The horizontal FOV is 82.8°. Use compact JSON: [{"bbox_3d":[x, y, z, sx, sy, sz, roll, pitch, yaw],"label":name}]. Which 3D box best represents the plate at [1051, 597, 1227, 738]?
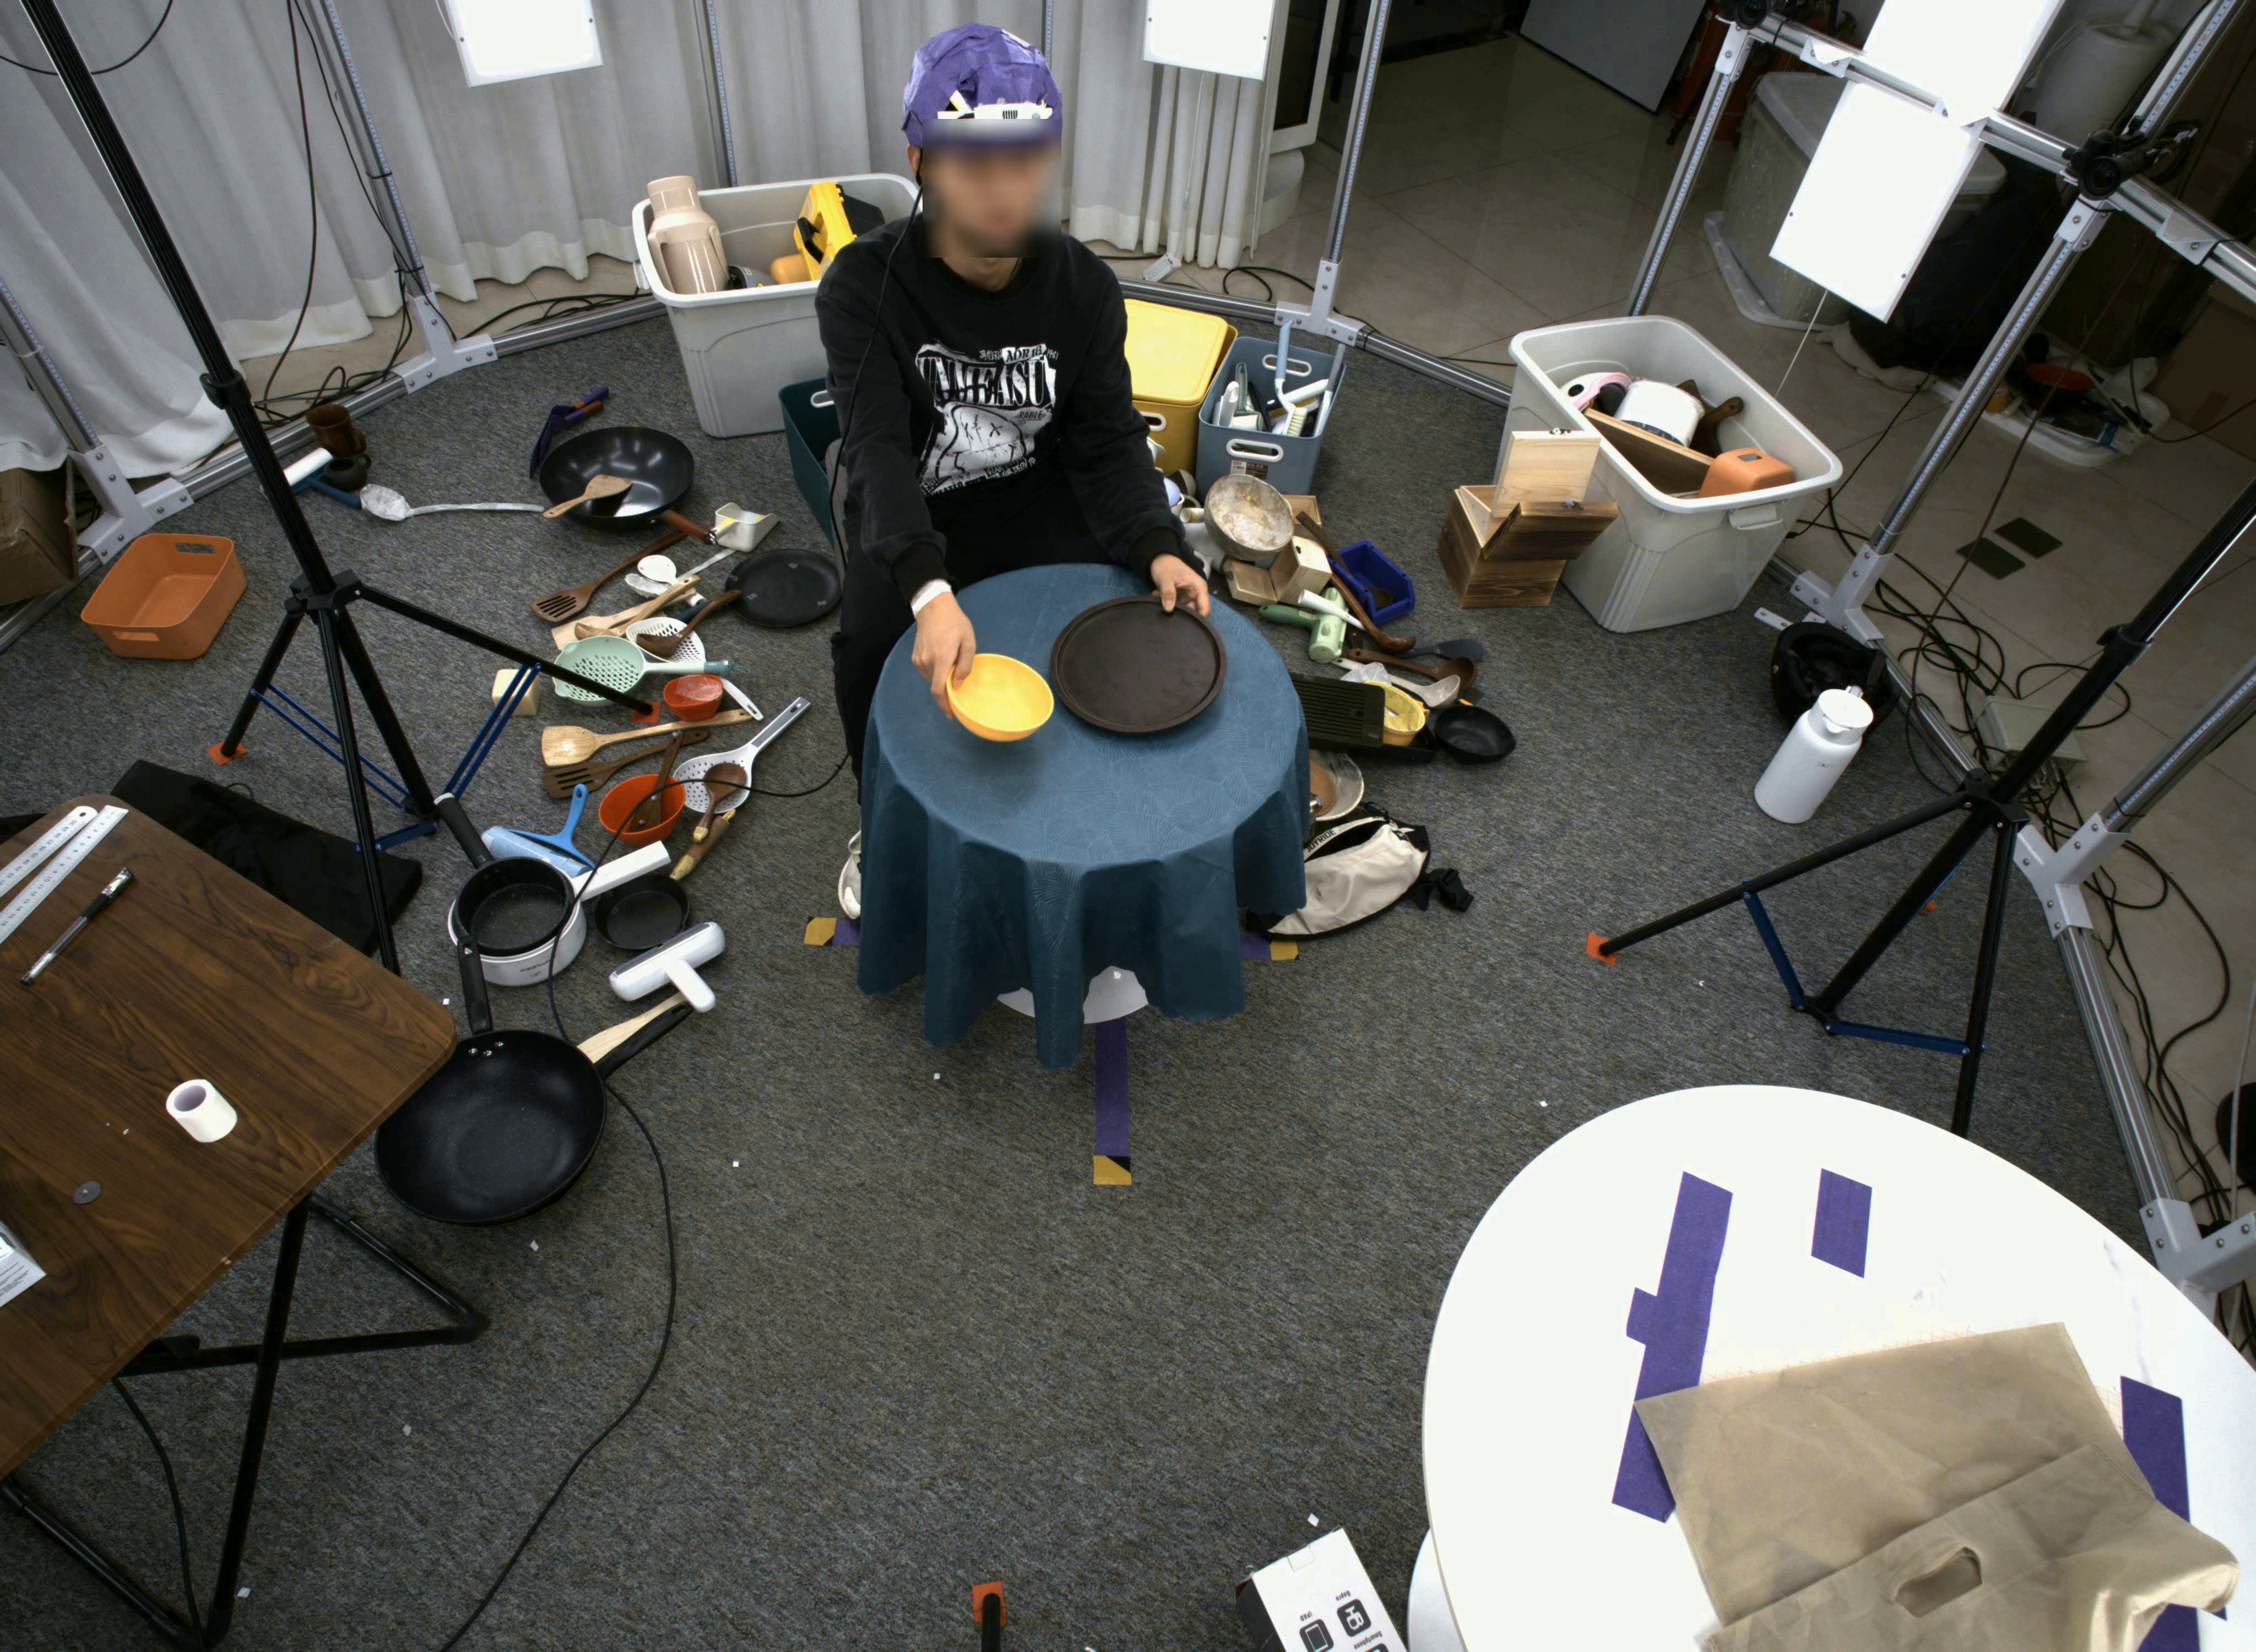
[{"bbox_3d":[0.016,-0.229,1.848,0.255,0.028,0.261,-3,56,4],"label":"plate"}]

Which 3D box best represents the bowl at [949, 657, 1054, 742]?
[{"bbox_3d":[-0.176,-0.157,1.718,0.144,0.059,0.149,15,41,-14],"label":"bowl"}]
